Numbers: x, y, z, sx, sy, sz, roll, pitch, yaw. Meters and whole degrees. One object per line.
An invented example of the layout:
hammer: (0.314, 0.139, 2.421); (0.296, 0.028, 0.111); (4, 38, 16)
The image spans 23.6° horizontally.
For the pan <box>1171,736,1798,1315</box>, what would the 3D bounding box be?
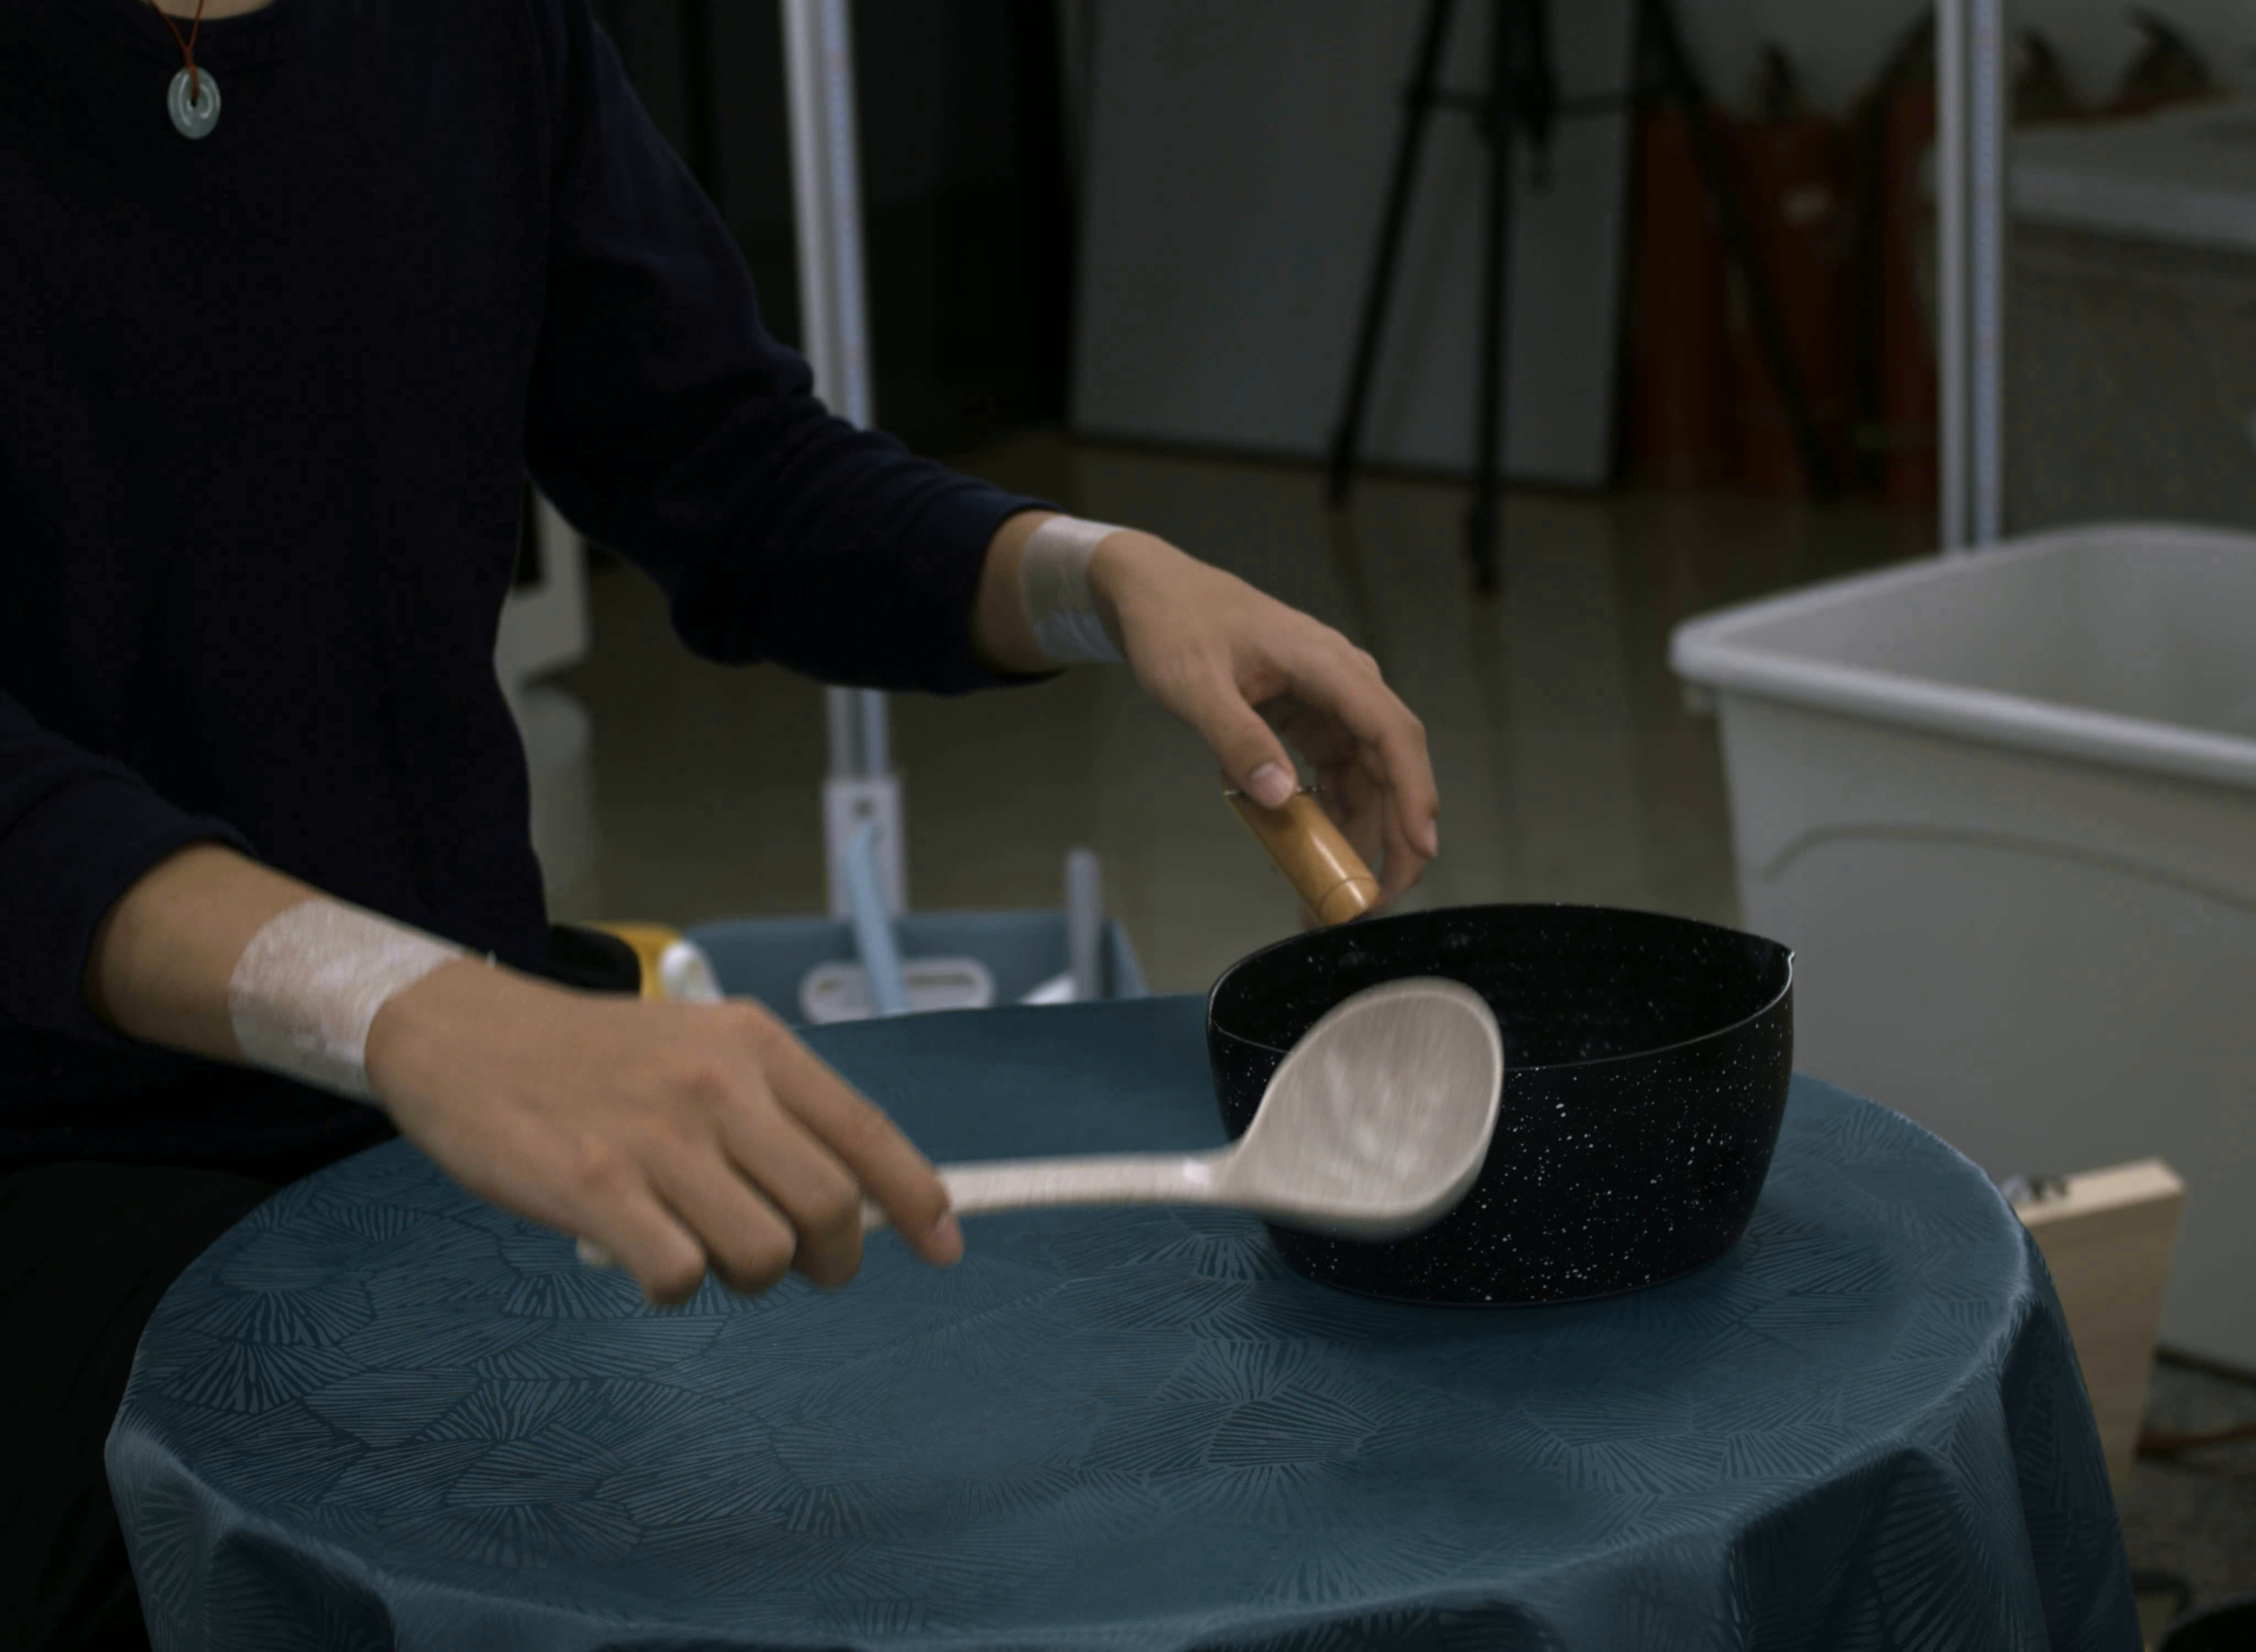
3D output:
pan: (0.093, 0.060, 1.764); (0.203, 0.109, 0.346); (-9, 16, -16)

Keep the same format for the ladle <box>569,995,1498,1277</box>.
ladle: (-0.022, 0.085, 1.486); (0.268, 0.070, 0.090); (0, 29, -28)
